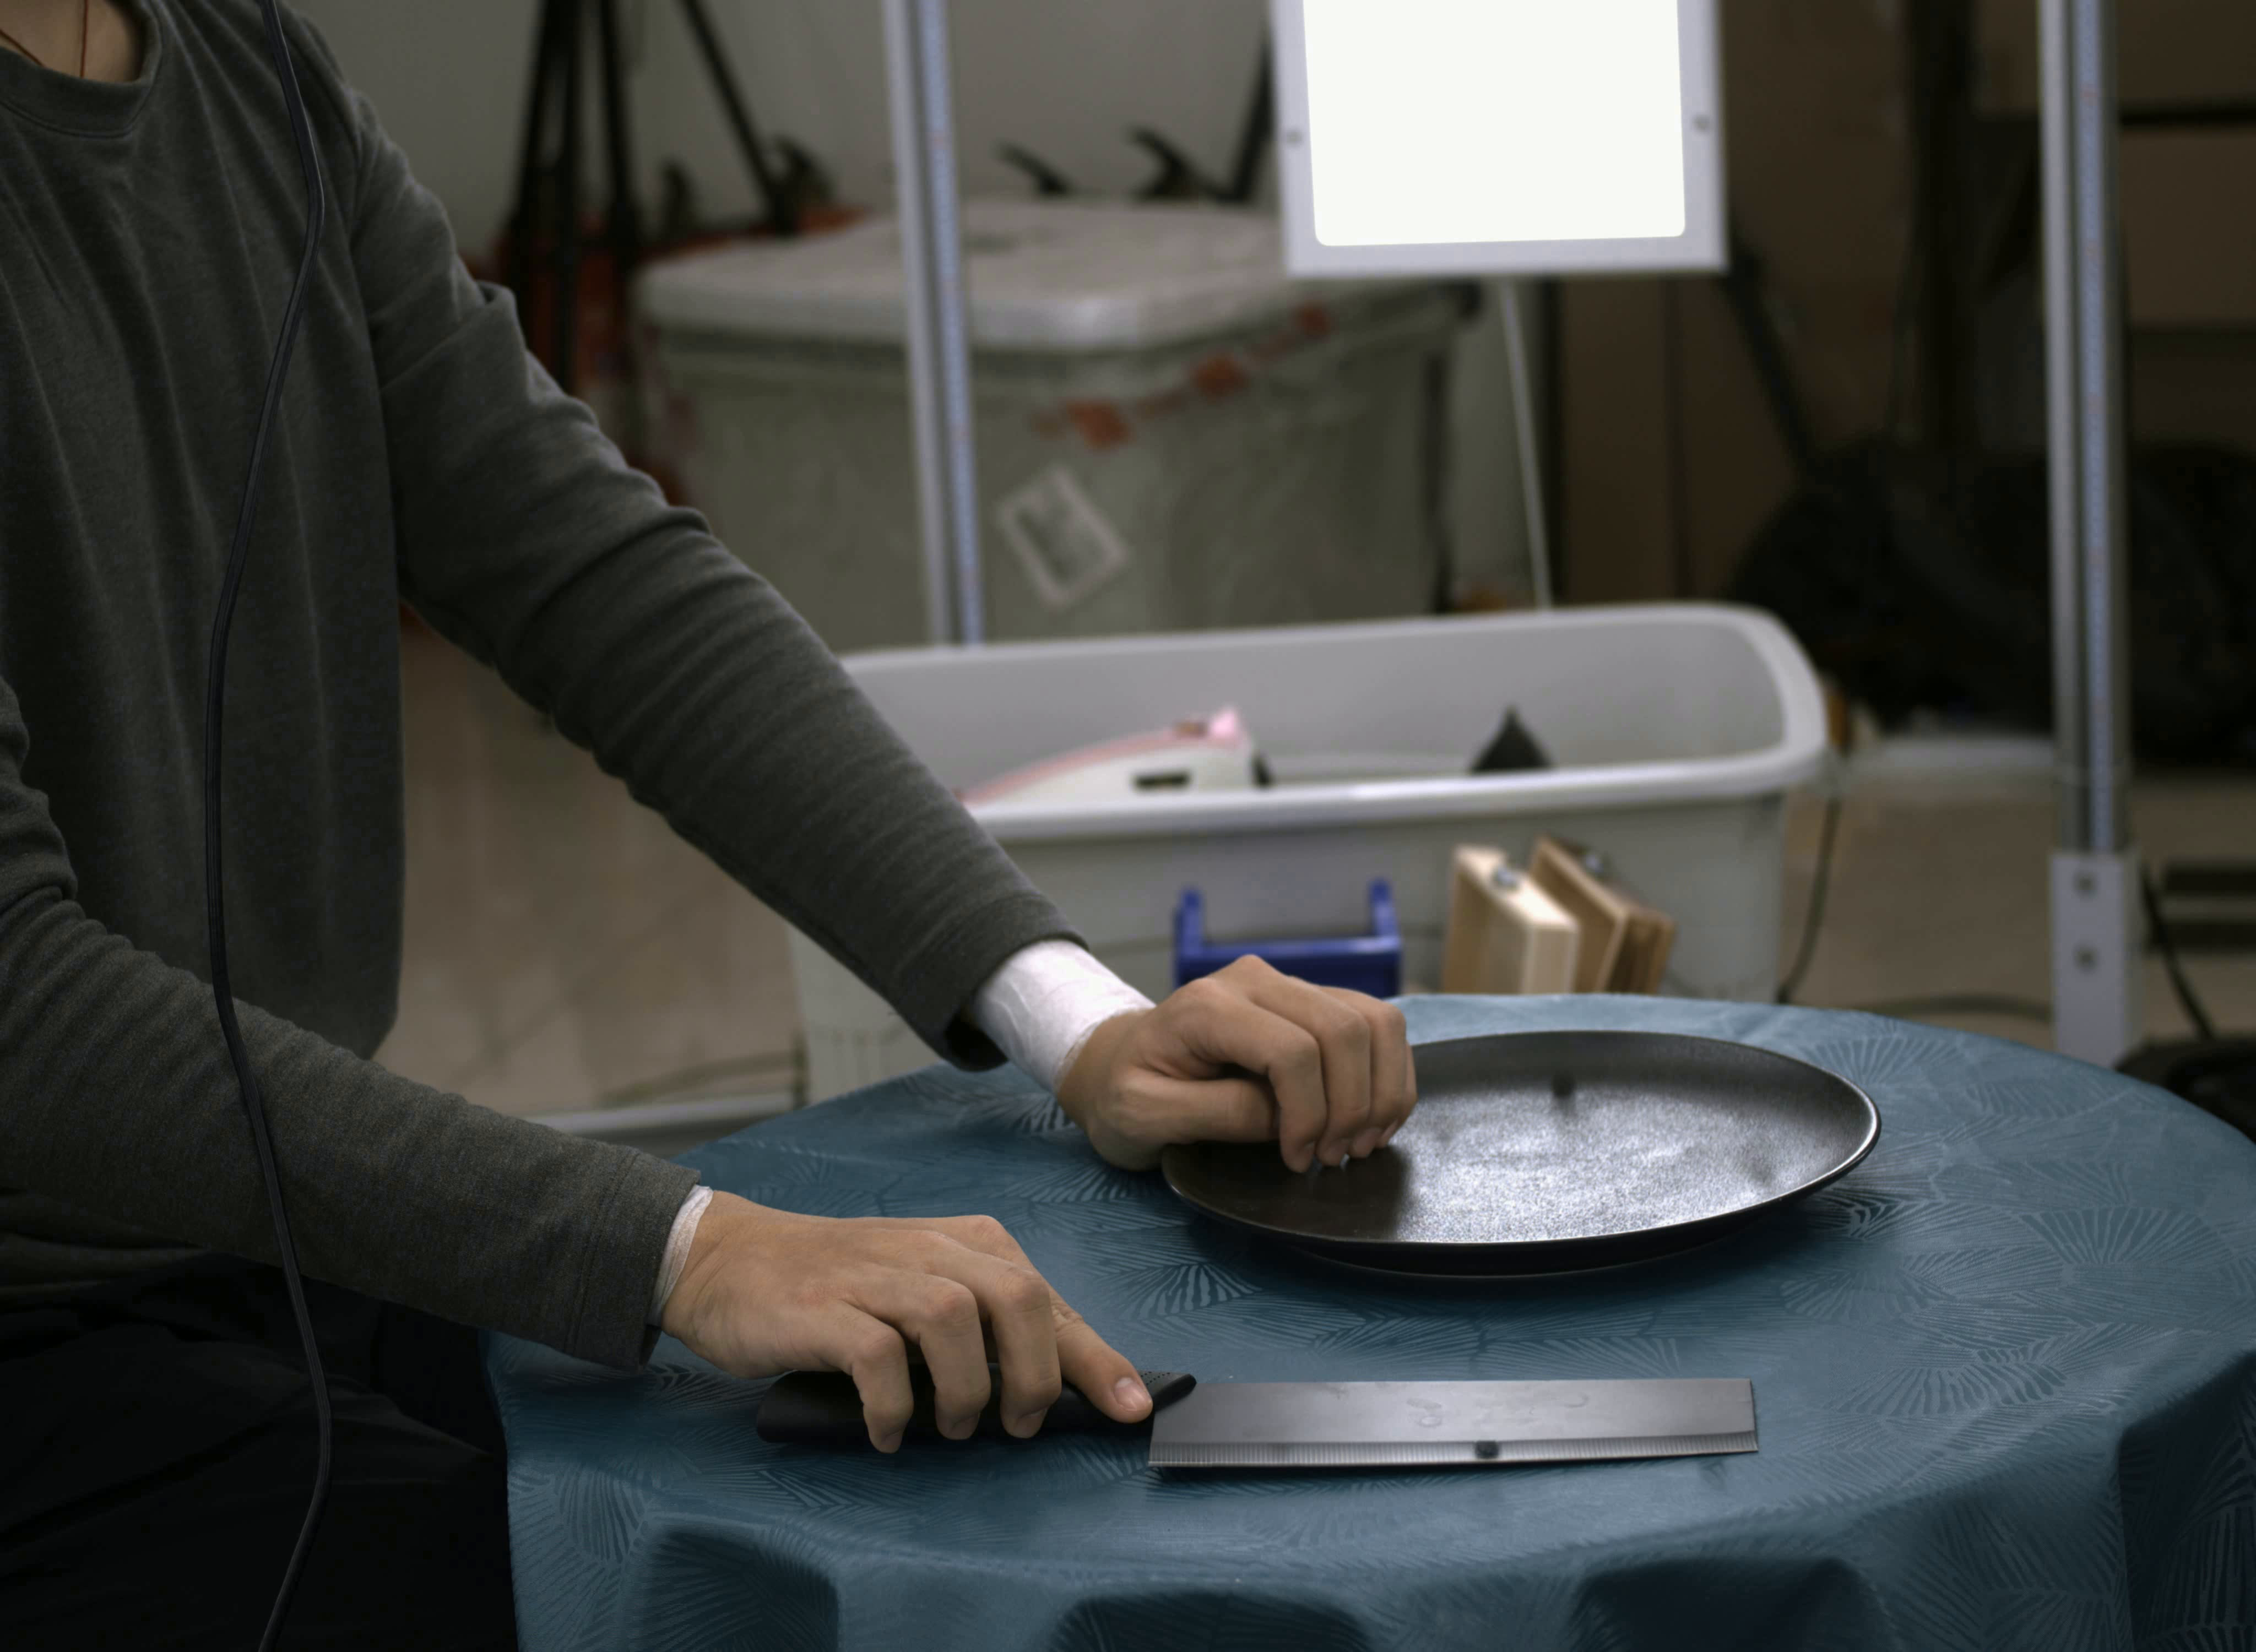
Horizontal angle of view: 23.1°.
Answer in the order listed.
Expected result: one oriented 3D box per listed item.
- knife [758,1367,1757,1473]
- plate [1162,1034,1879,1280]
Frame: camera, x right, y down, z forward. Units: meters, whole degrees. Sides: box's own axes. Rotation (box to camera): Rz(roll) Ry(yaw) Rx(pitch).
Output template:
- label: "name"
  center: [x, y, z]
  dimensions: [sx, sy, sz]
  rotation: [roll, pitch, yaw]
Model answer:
- label: "knife"
  center: [0.039, 0.178, 1.652]
  dimensions: [0.304, 0.021, 0.080]
  rotation: [-1, 17, 11]
- label: "plate"
  center: [0.133, 0.114, 1.859]
  dimensions: [0.244, 0.023, 0.244]
  rotation: [-5, 13, 0]
